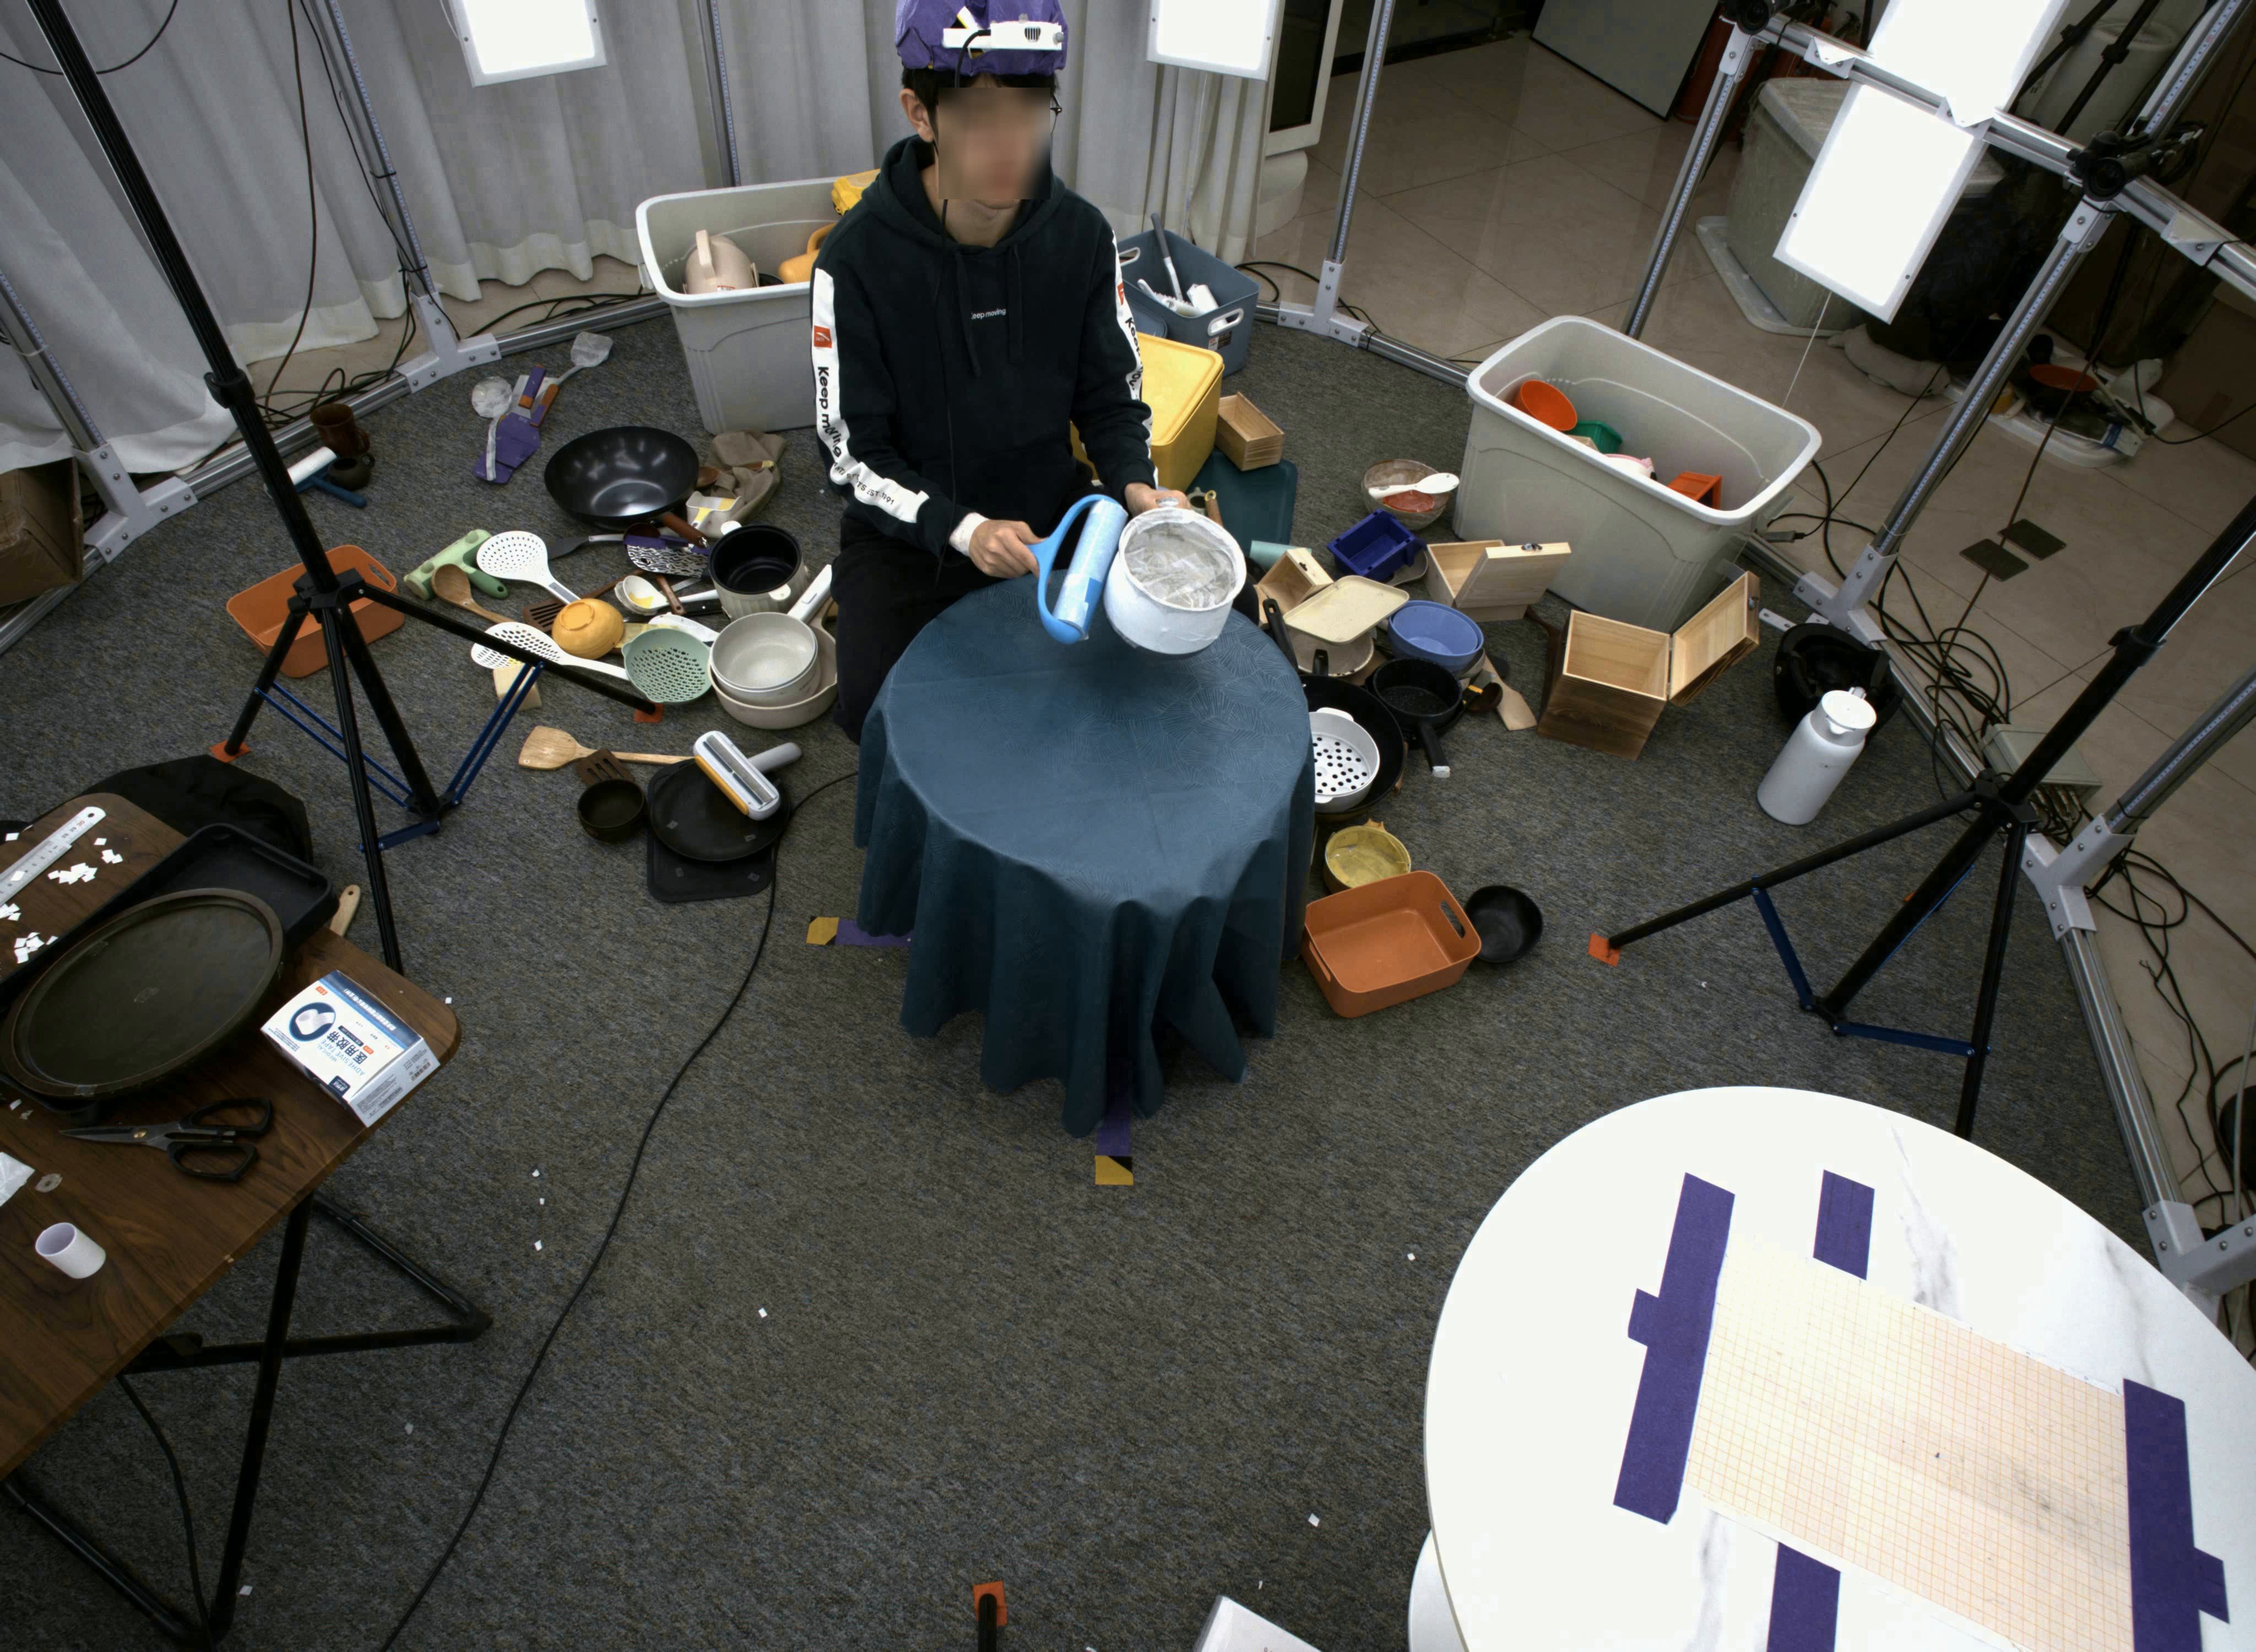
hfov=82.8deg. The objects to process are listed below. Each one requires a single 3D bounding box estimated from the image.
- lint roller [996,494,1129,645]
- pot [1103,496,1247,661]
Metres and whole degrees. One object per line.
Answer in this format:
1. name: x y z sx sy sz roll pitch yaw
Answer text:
1. lint roller: -0.107 -0.362 1.787 0.181 0.066 0.232 9 70 15
2. pot: 0.056 -0.351 1.775 0.178 0.134 0.239 0 61 -15
